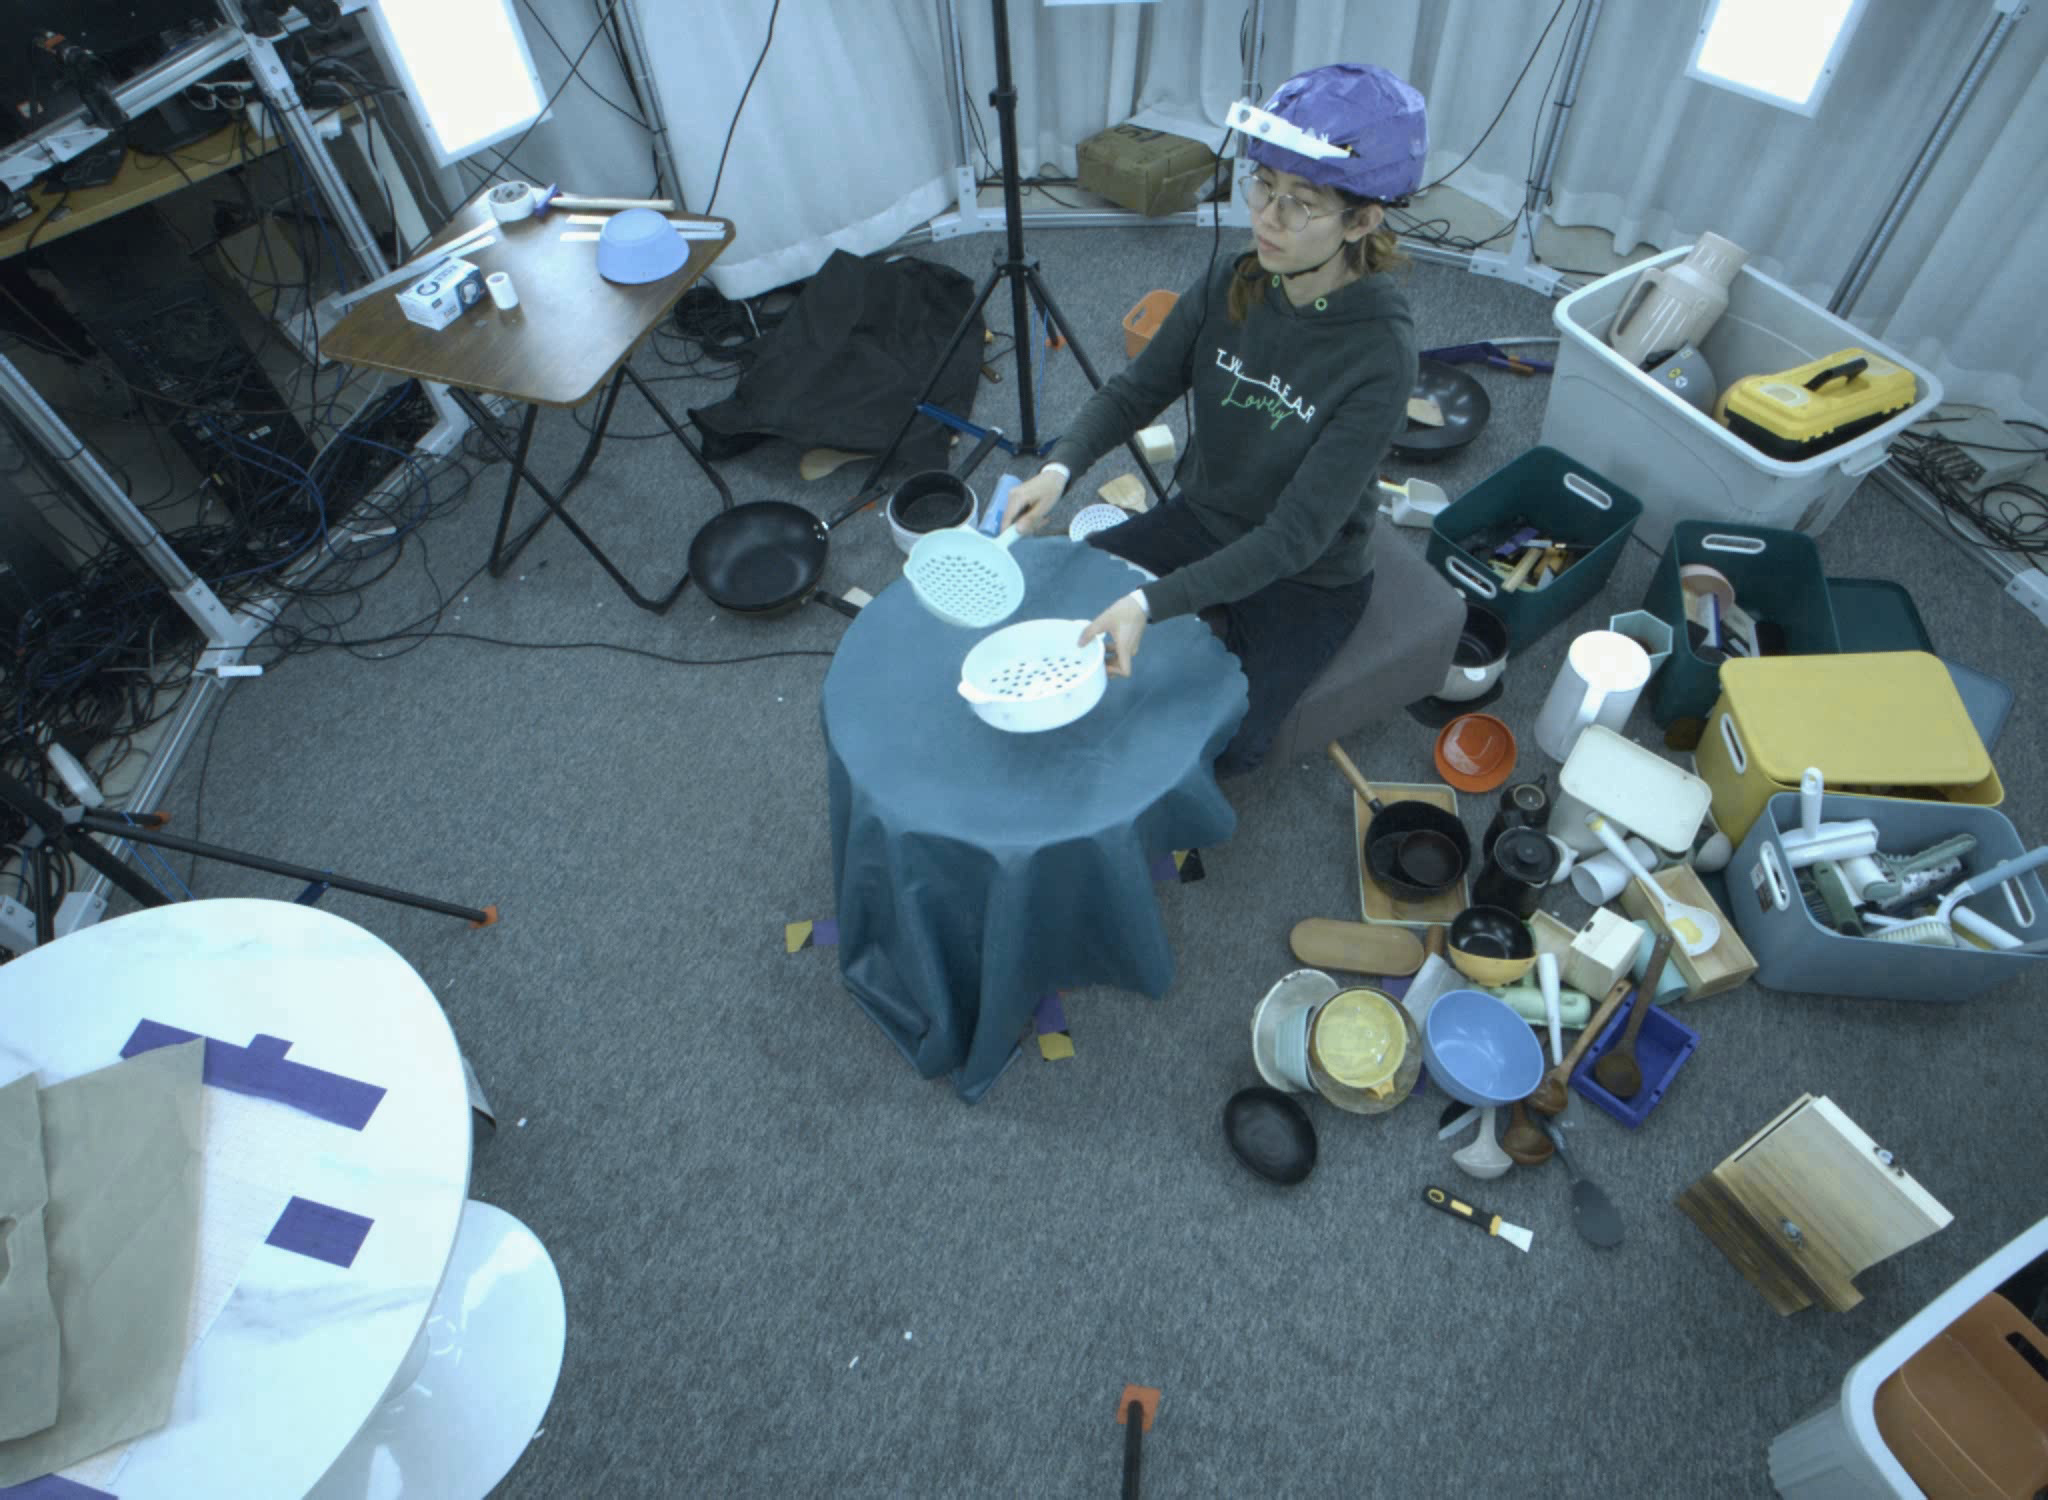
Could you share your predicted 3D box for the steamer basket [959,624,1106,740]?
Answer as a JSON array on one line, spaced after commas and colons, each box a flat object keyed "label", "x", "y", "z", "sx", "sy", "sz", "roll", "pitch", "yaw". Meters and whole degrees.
[{"label": "steamer basket", "x": 0.016, "y": -0.095, "z": 1.733, "sx": 0.233, "sy": 0.070, "sz": 0.197, "roll": -32, "pitch": 43, "yaw": -24}]

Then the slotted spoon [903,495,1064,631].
[{"label": "slotted spoon", "x": -0.034, "y": -0.293, "z": 1.786, "sx": 0.169, "sy": 0.075, "sz": 0.360, "roll": 38, "pitch": 59, "yaw": 2}]
